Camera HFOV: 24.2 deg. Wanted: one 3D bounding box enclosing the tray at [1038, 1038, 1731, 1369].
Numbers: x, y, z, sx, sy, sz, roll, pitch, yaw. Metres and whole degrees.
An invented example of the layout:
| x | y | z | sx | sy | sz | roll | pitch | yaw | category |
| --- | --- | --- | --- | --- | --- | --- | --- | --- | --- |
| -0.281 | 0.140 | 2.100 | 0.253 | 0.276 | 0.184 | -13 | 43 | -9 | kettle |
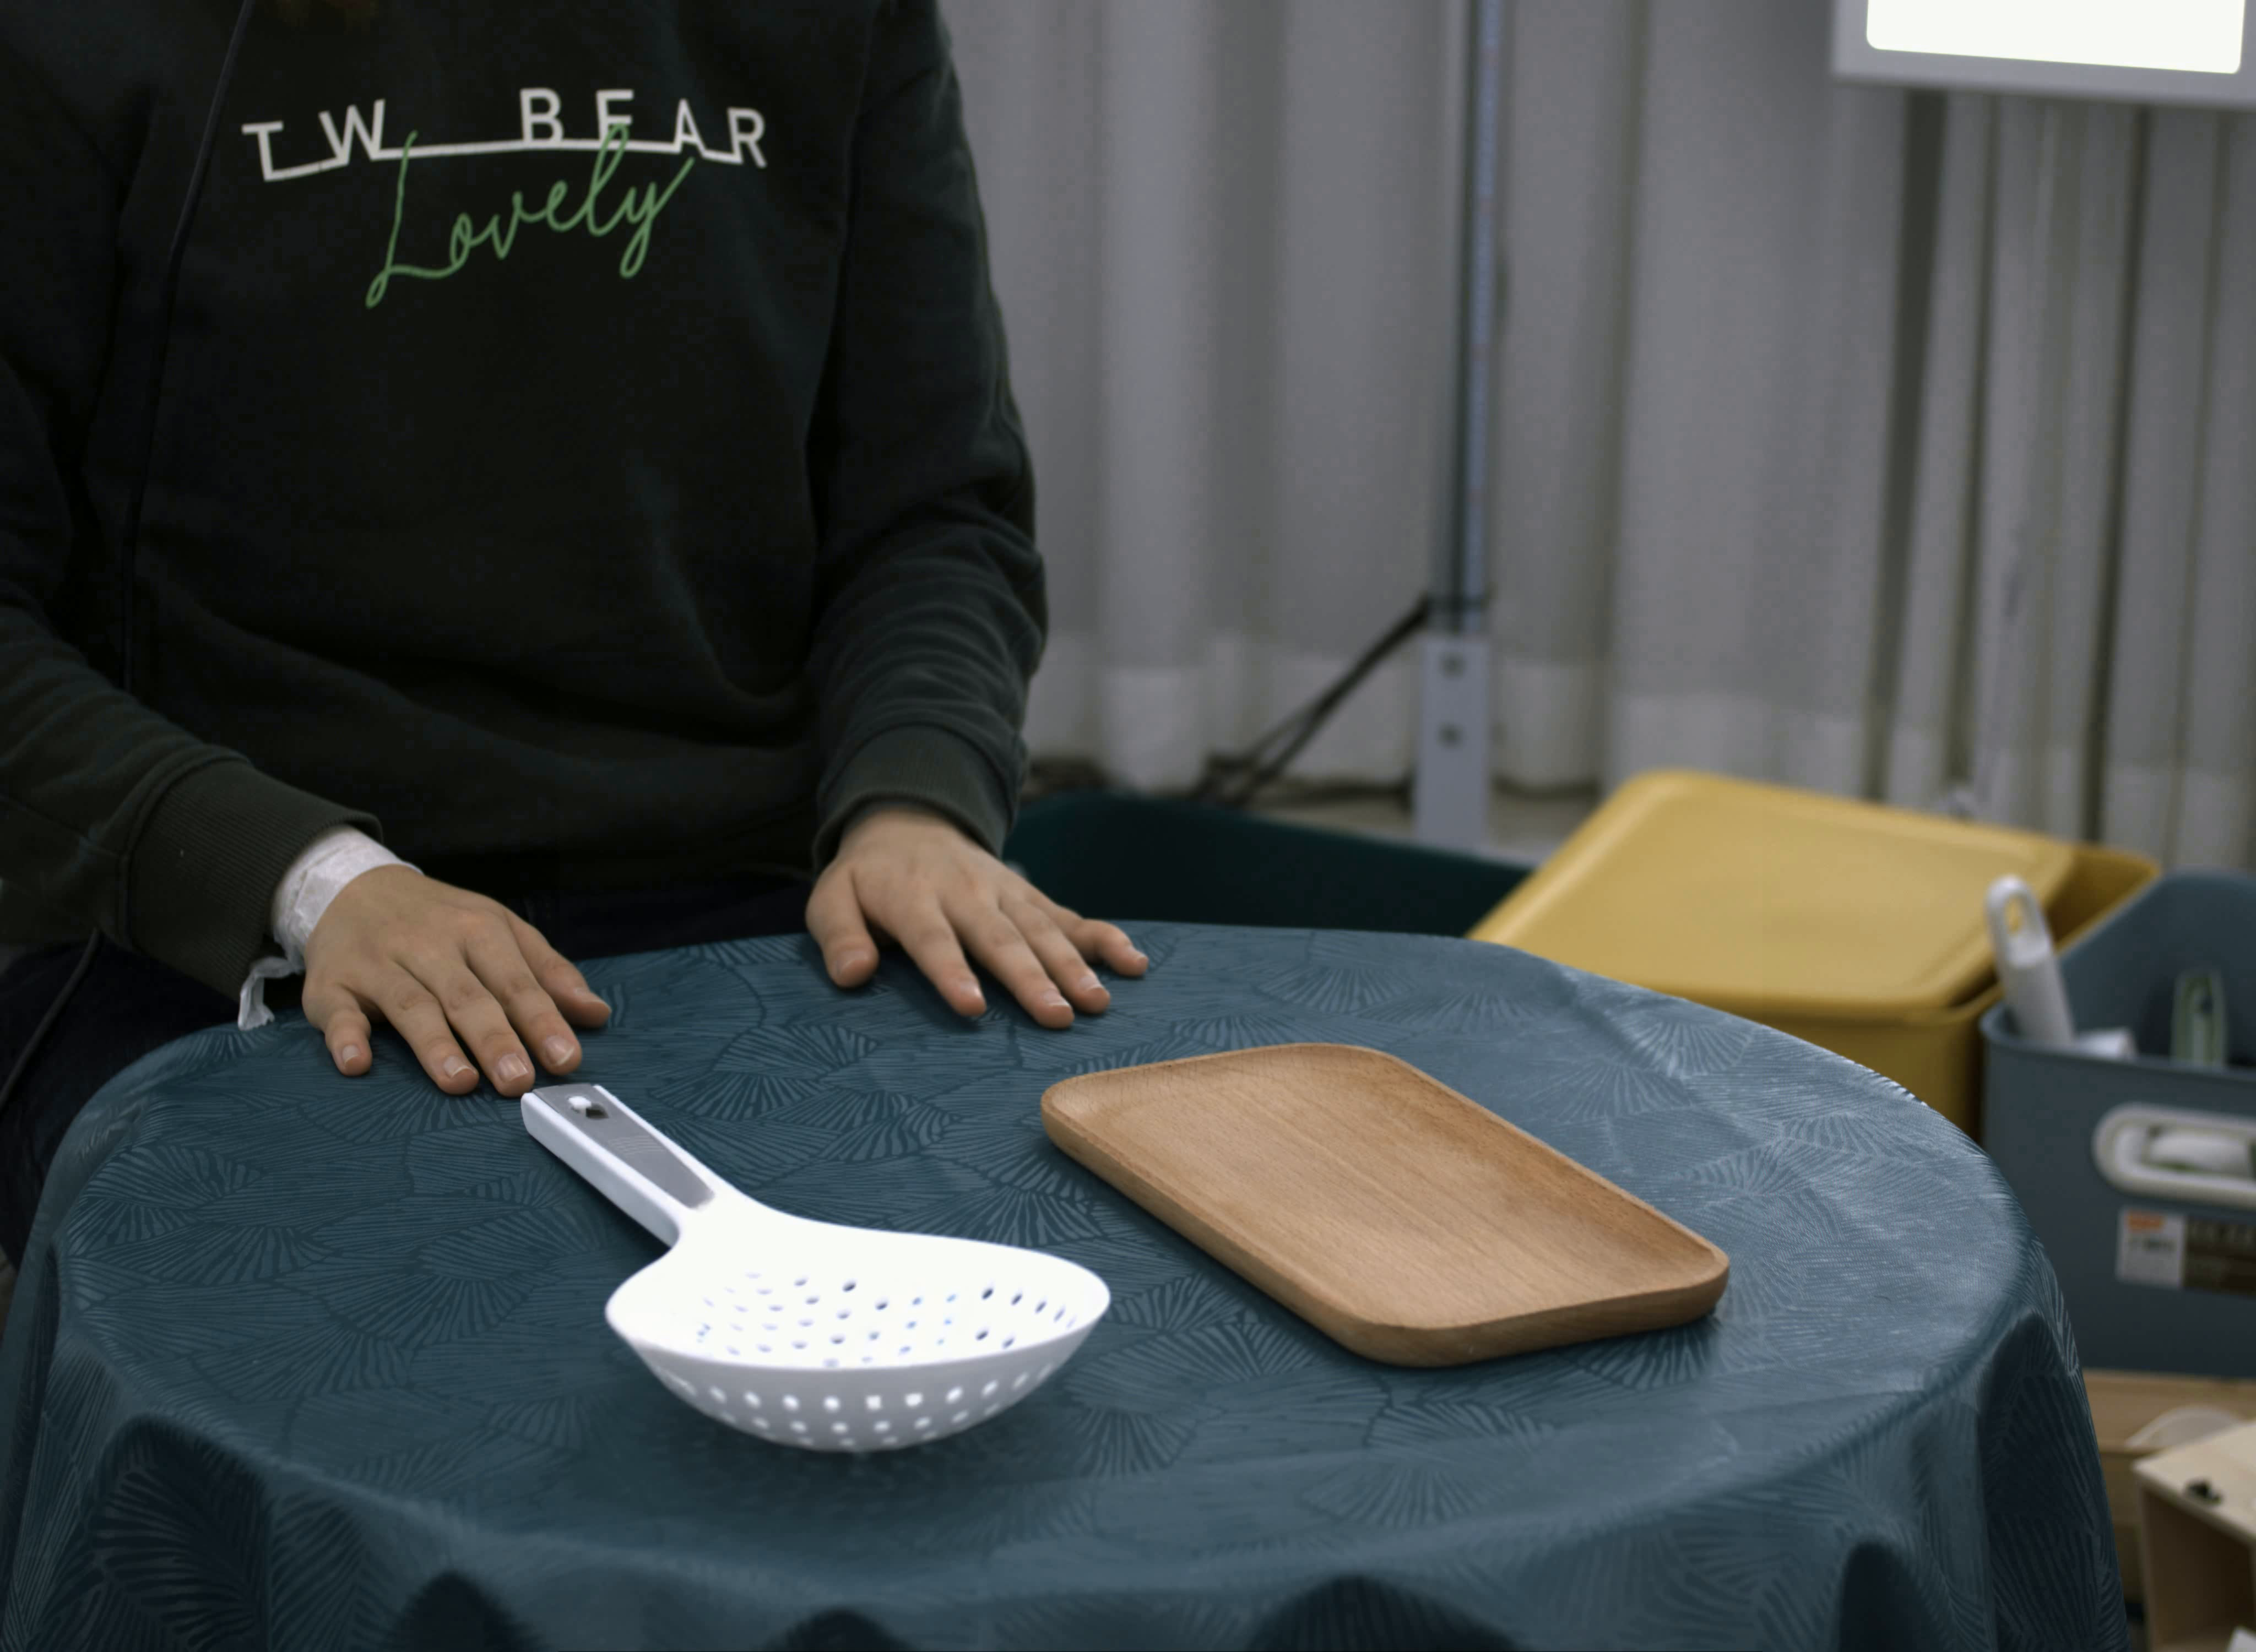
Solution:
| x | y | z | sx | sy | sz | roll | pitch | yaw | category |
| --- | --- | --- | --- | --- | --- | --- | --- | --- | --- |
| 0.073 | 0.112 | 1.602 | 0.131 | 0.023 | 0.247 | -5 | 16 | -25 | tray |

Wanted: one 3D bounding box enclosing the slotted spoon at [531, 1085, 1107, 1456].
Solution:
| x | y | z | sx | sy | sz | roll | pitch | yaw | category |
| --- | --- | --- | --- | --- | --- | --- | --- | --- | --- |
| -0.114 | 0.118 | 1.518 | 0.136 | 0.046 | 0.346 | -3 | 15 | -22 | slotted spoon |
